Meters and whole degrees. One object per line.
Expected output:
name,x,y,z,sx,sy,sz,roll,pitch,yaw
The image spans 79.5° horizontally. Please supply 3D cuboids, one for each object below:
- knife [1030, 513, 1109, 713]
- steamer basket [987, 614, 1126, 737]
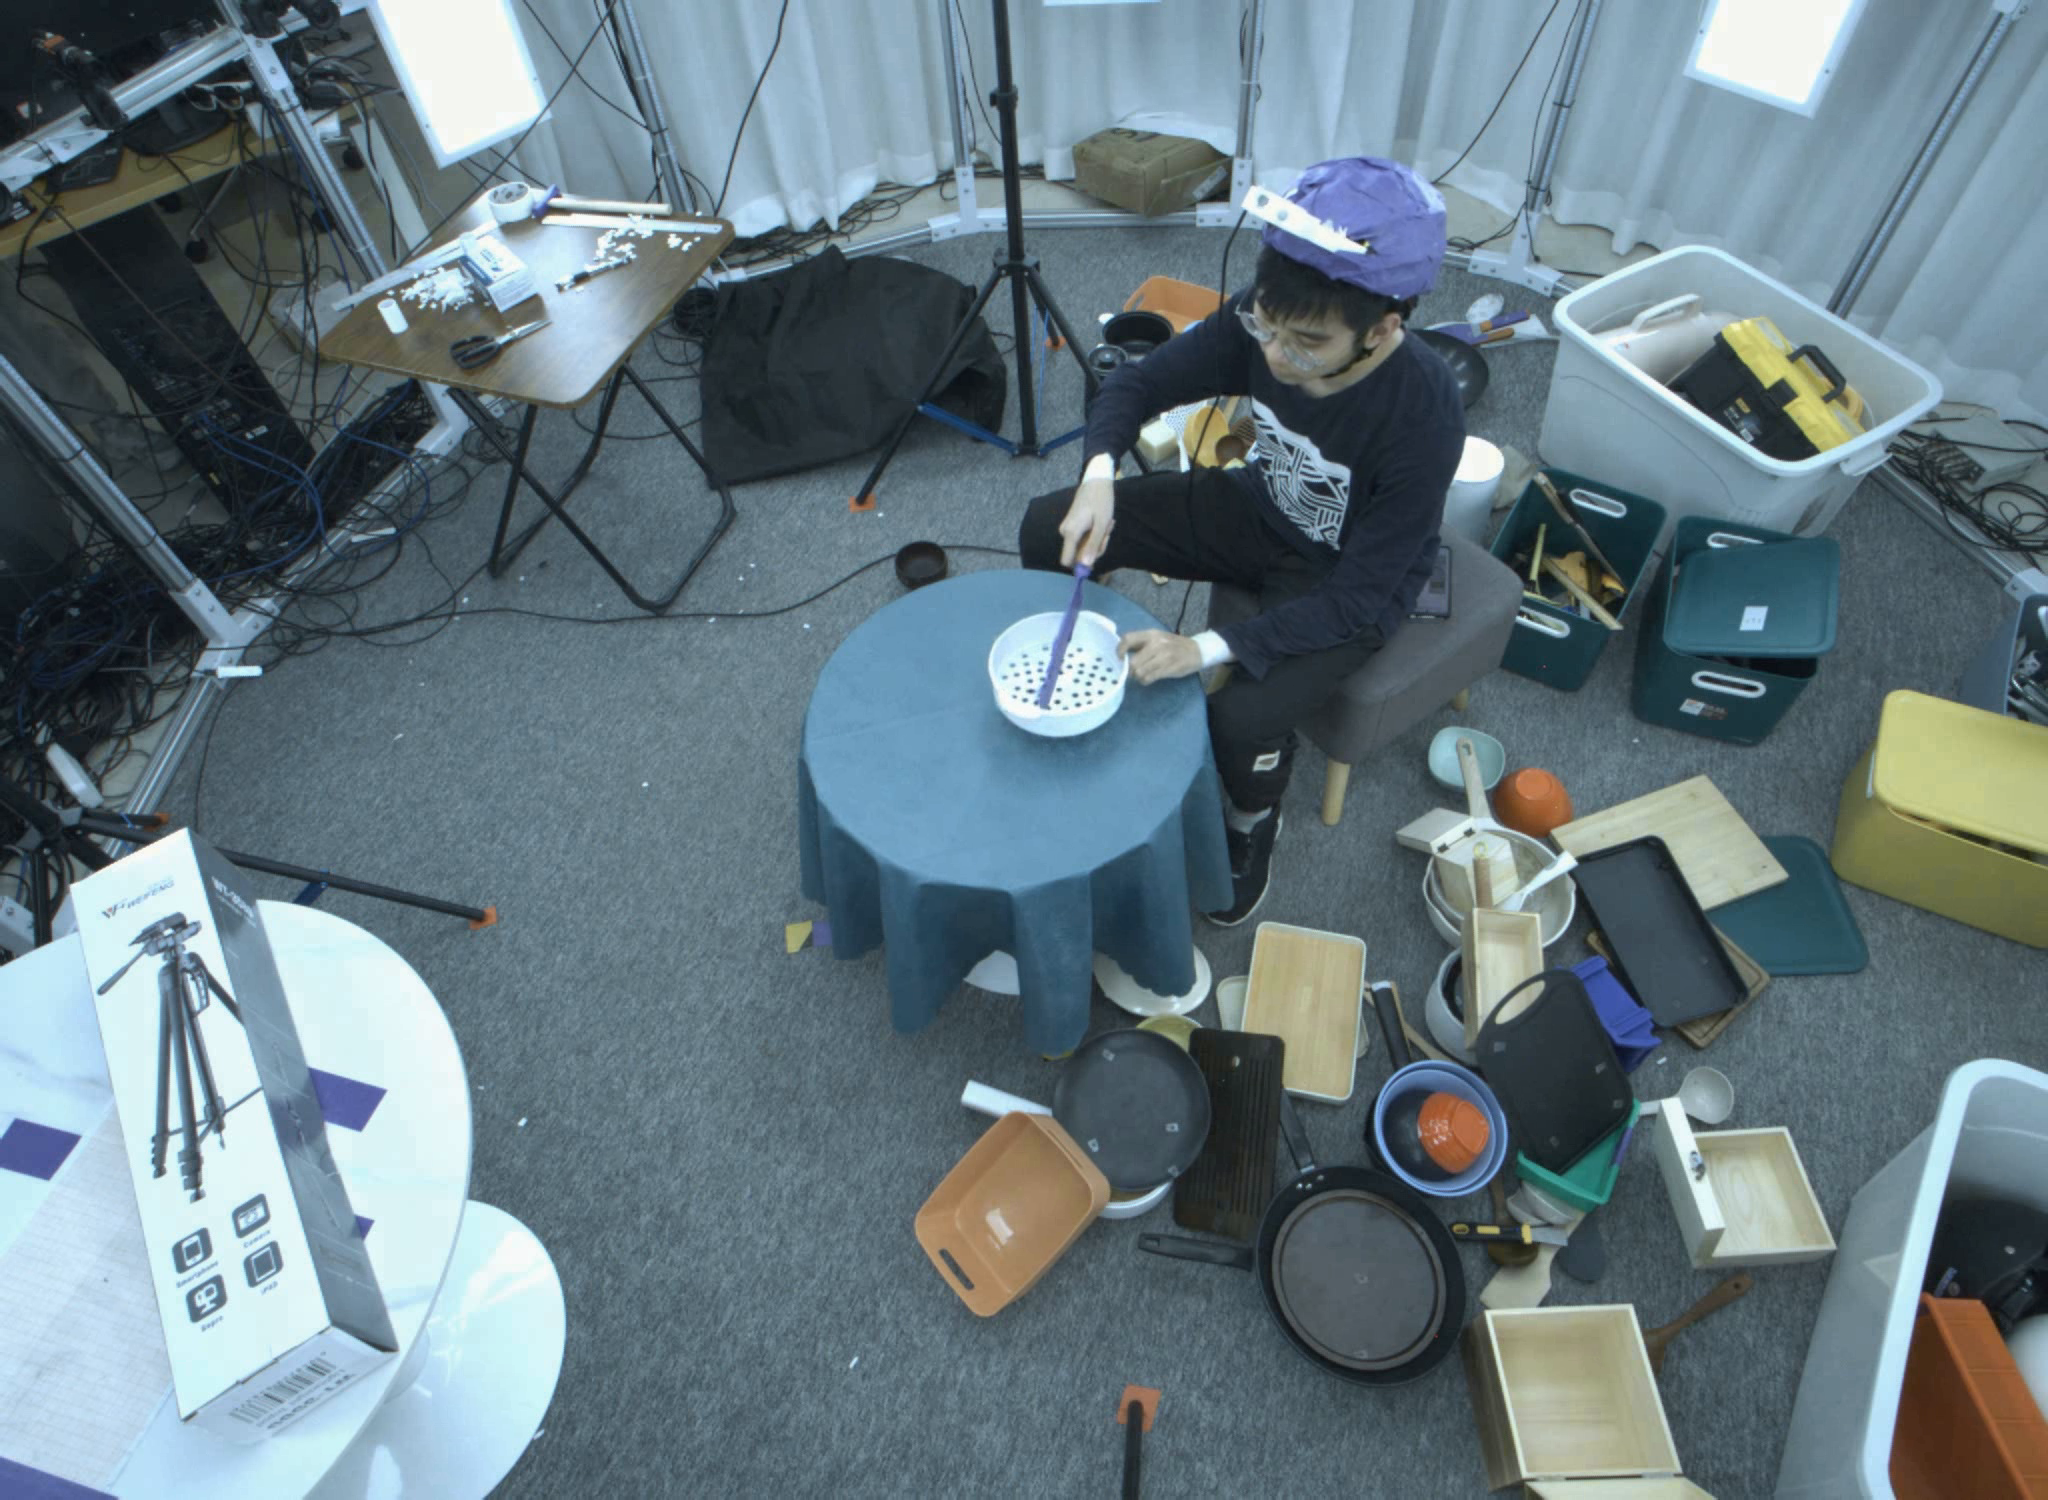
knife,0.062,-0.194,1.782,0.032,0.104,0.314,17,70,9
steamer basket,0.046,-0.108,1.803,0.199,0.070,0.232,30,55,18
